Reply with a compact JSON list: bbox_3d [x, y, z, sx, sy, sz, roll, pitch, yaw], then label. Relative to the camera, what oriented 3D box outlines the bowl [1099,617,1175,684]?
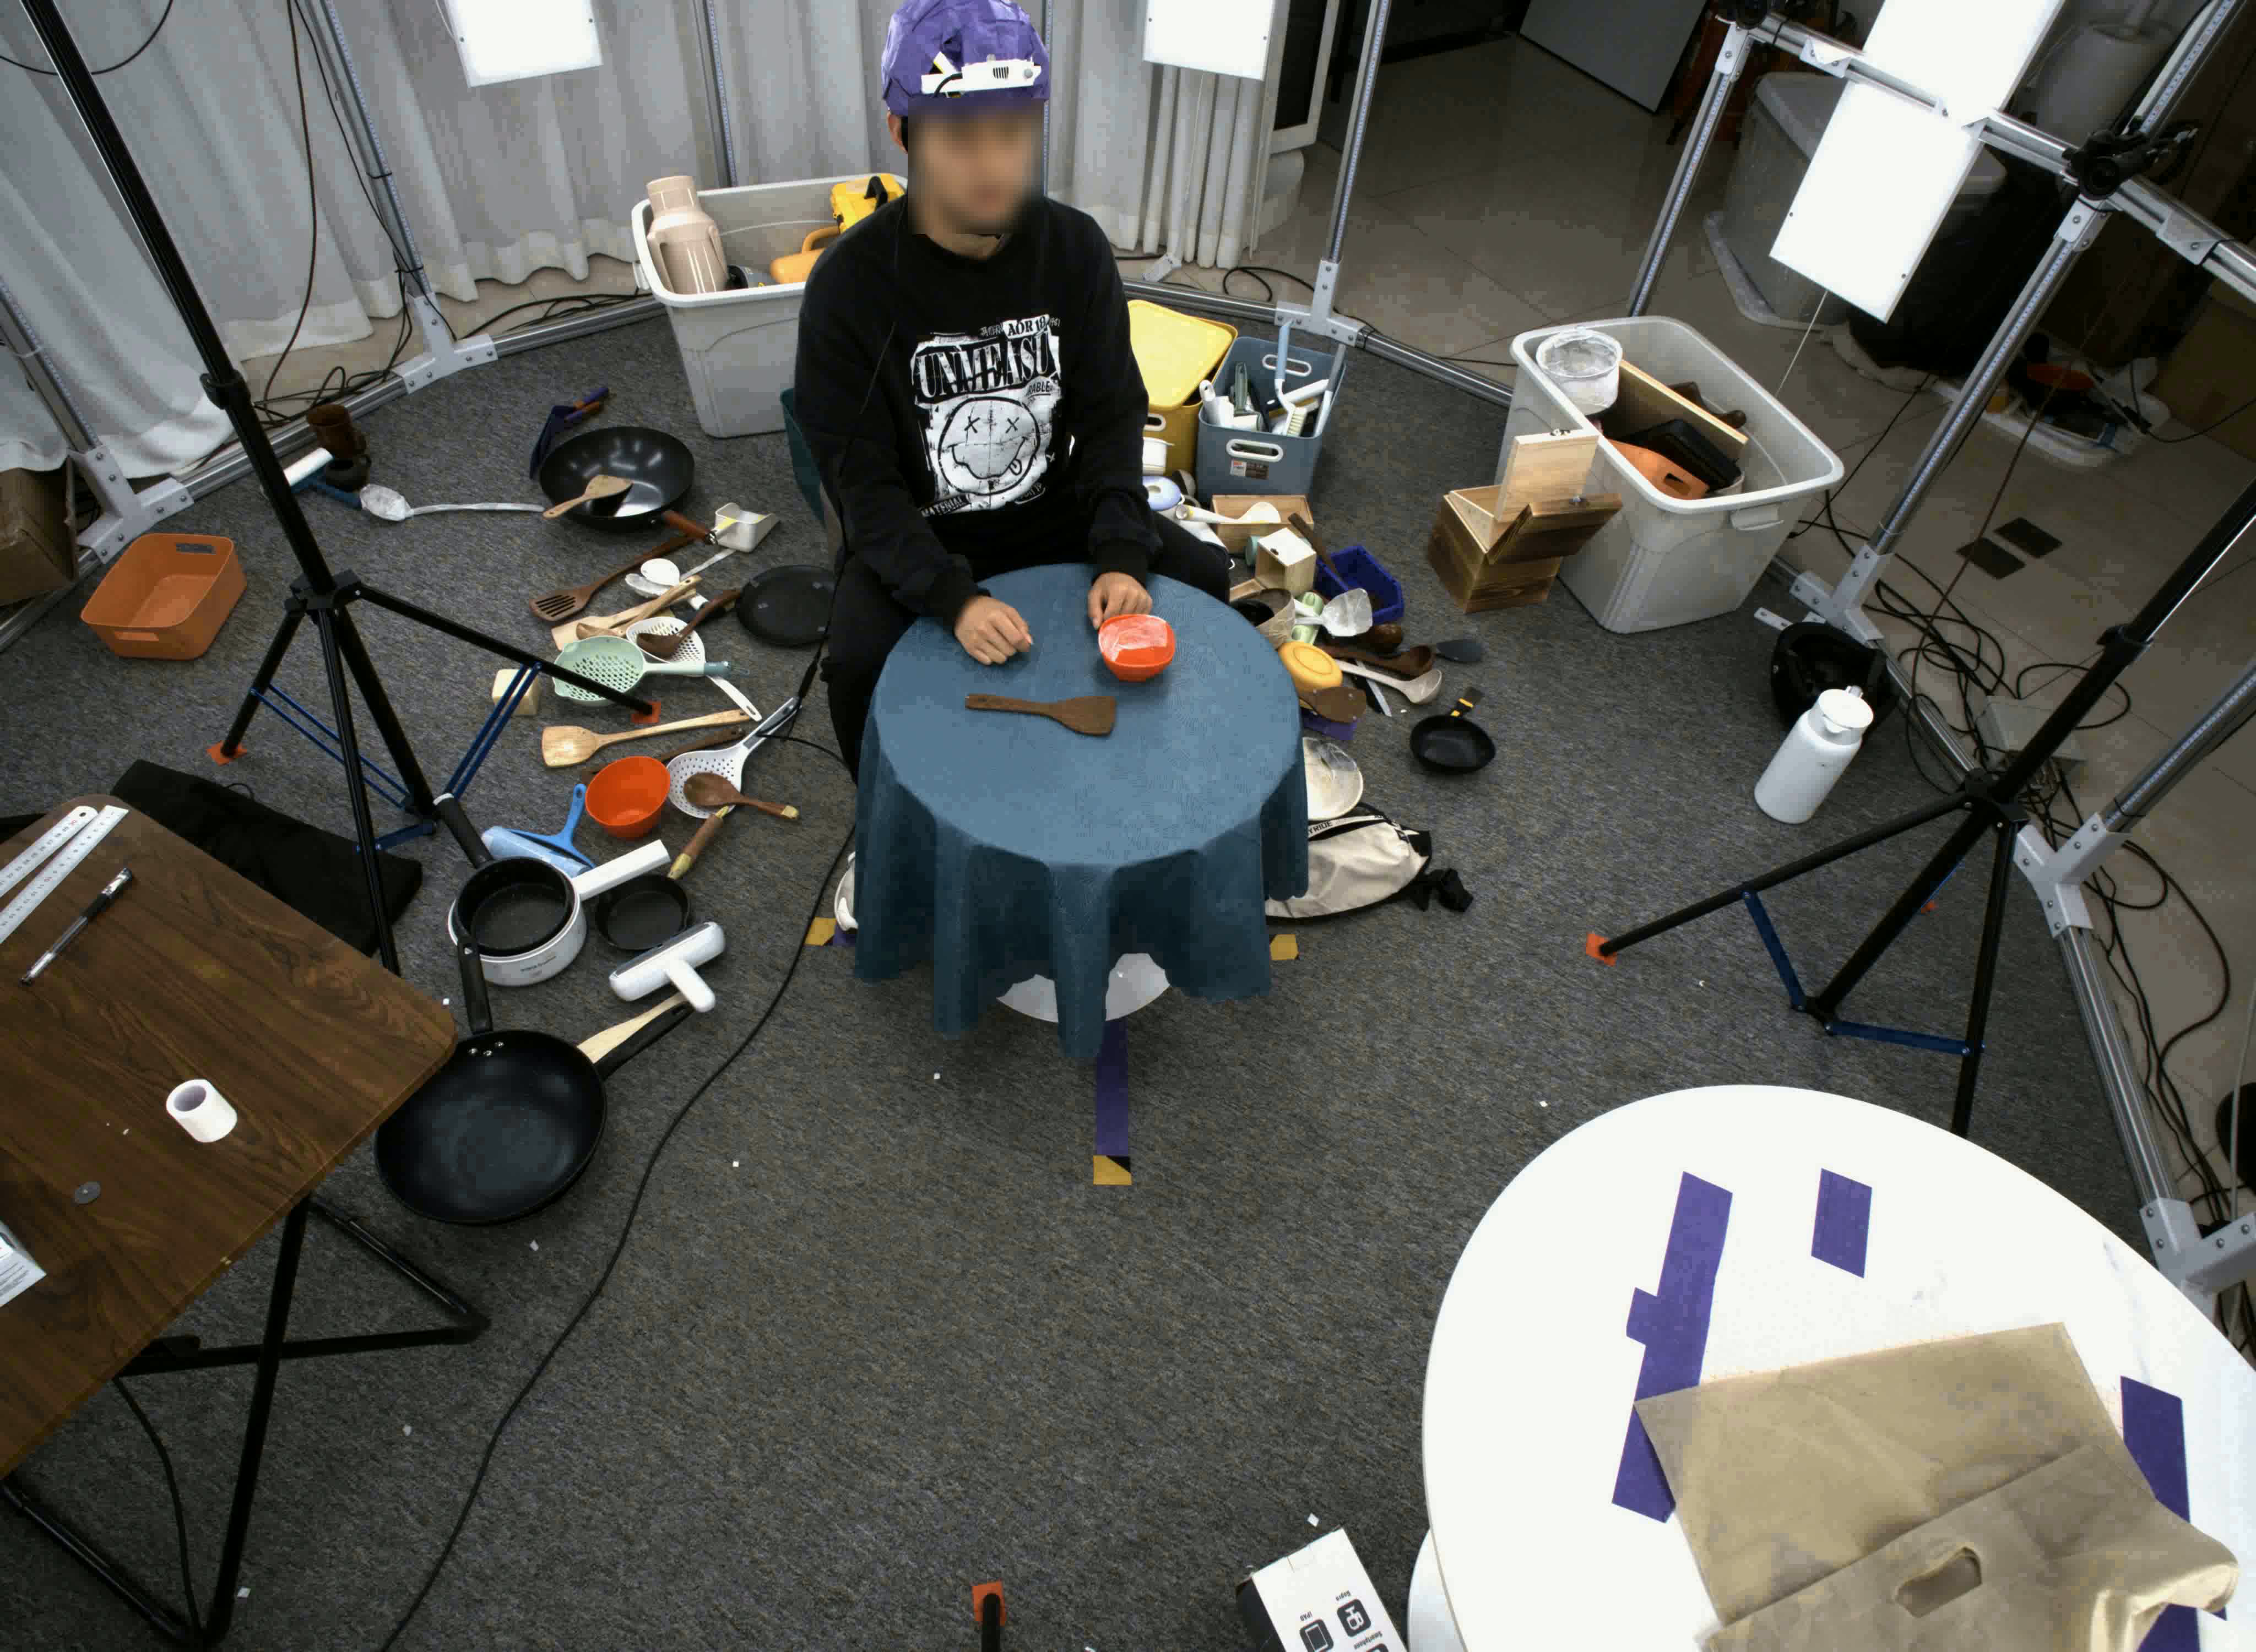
[{"bbox_3d":[0.012,-0.249,1.872,0.119,0.050,0.122,2,50,-2],"label":"bowl"}]

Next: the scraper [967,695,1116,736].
[{"bbox_3d":[-0.122,-0.164,1.814,0.211,0.010,0.077,7,48,3],"label":"scraper"}]
